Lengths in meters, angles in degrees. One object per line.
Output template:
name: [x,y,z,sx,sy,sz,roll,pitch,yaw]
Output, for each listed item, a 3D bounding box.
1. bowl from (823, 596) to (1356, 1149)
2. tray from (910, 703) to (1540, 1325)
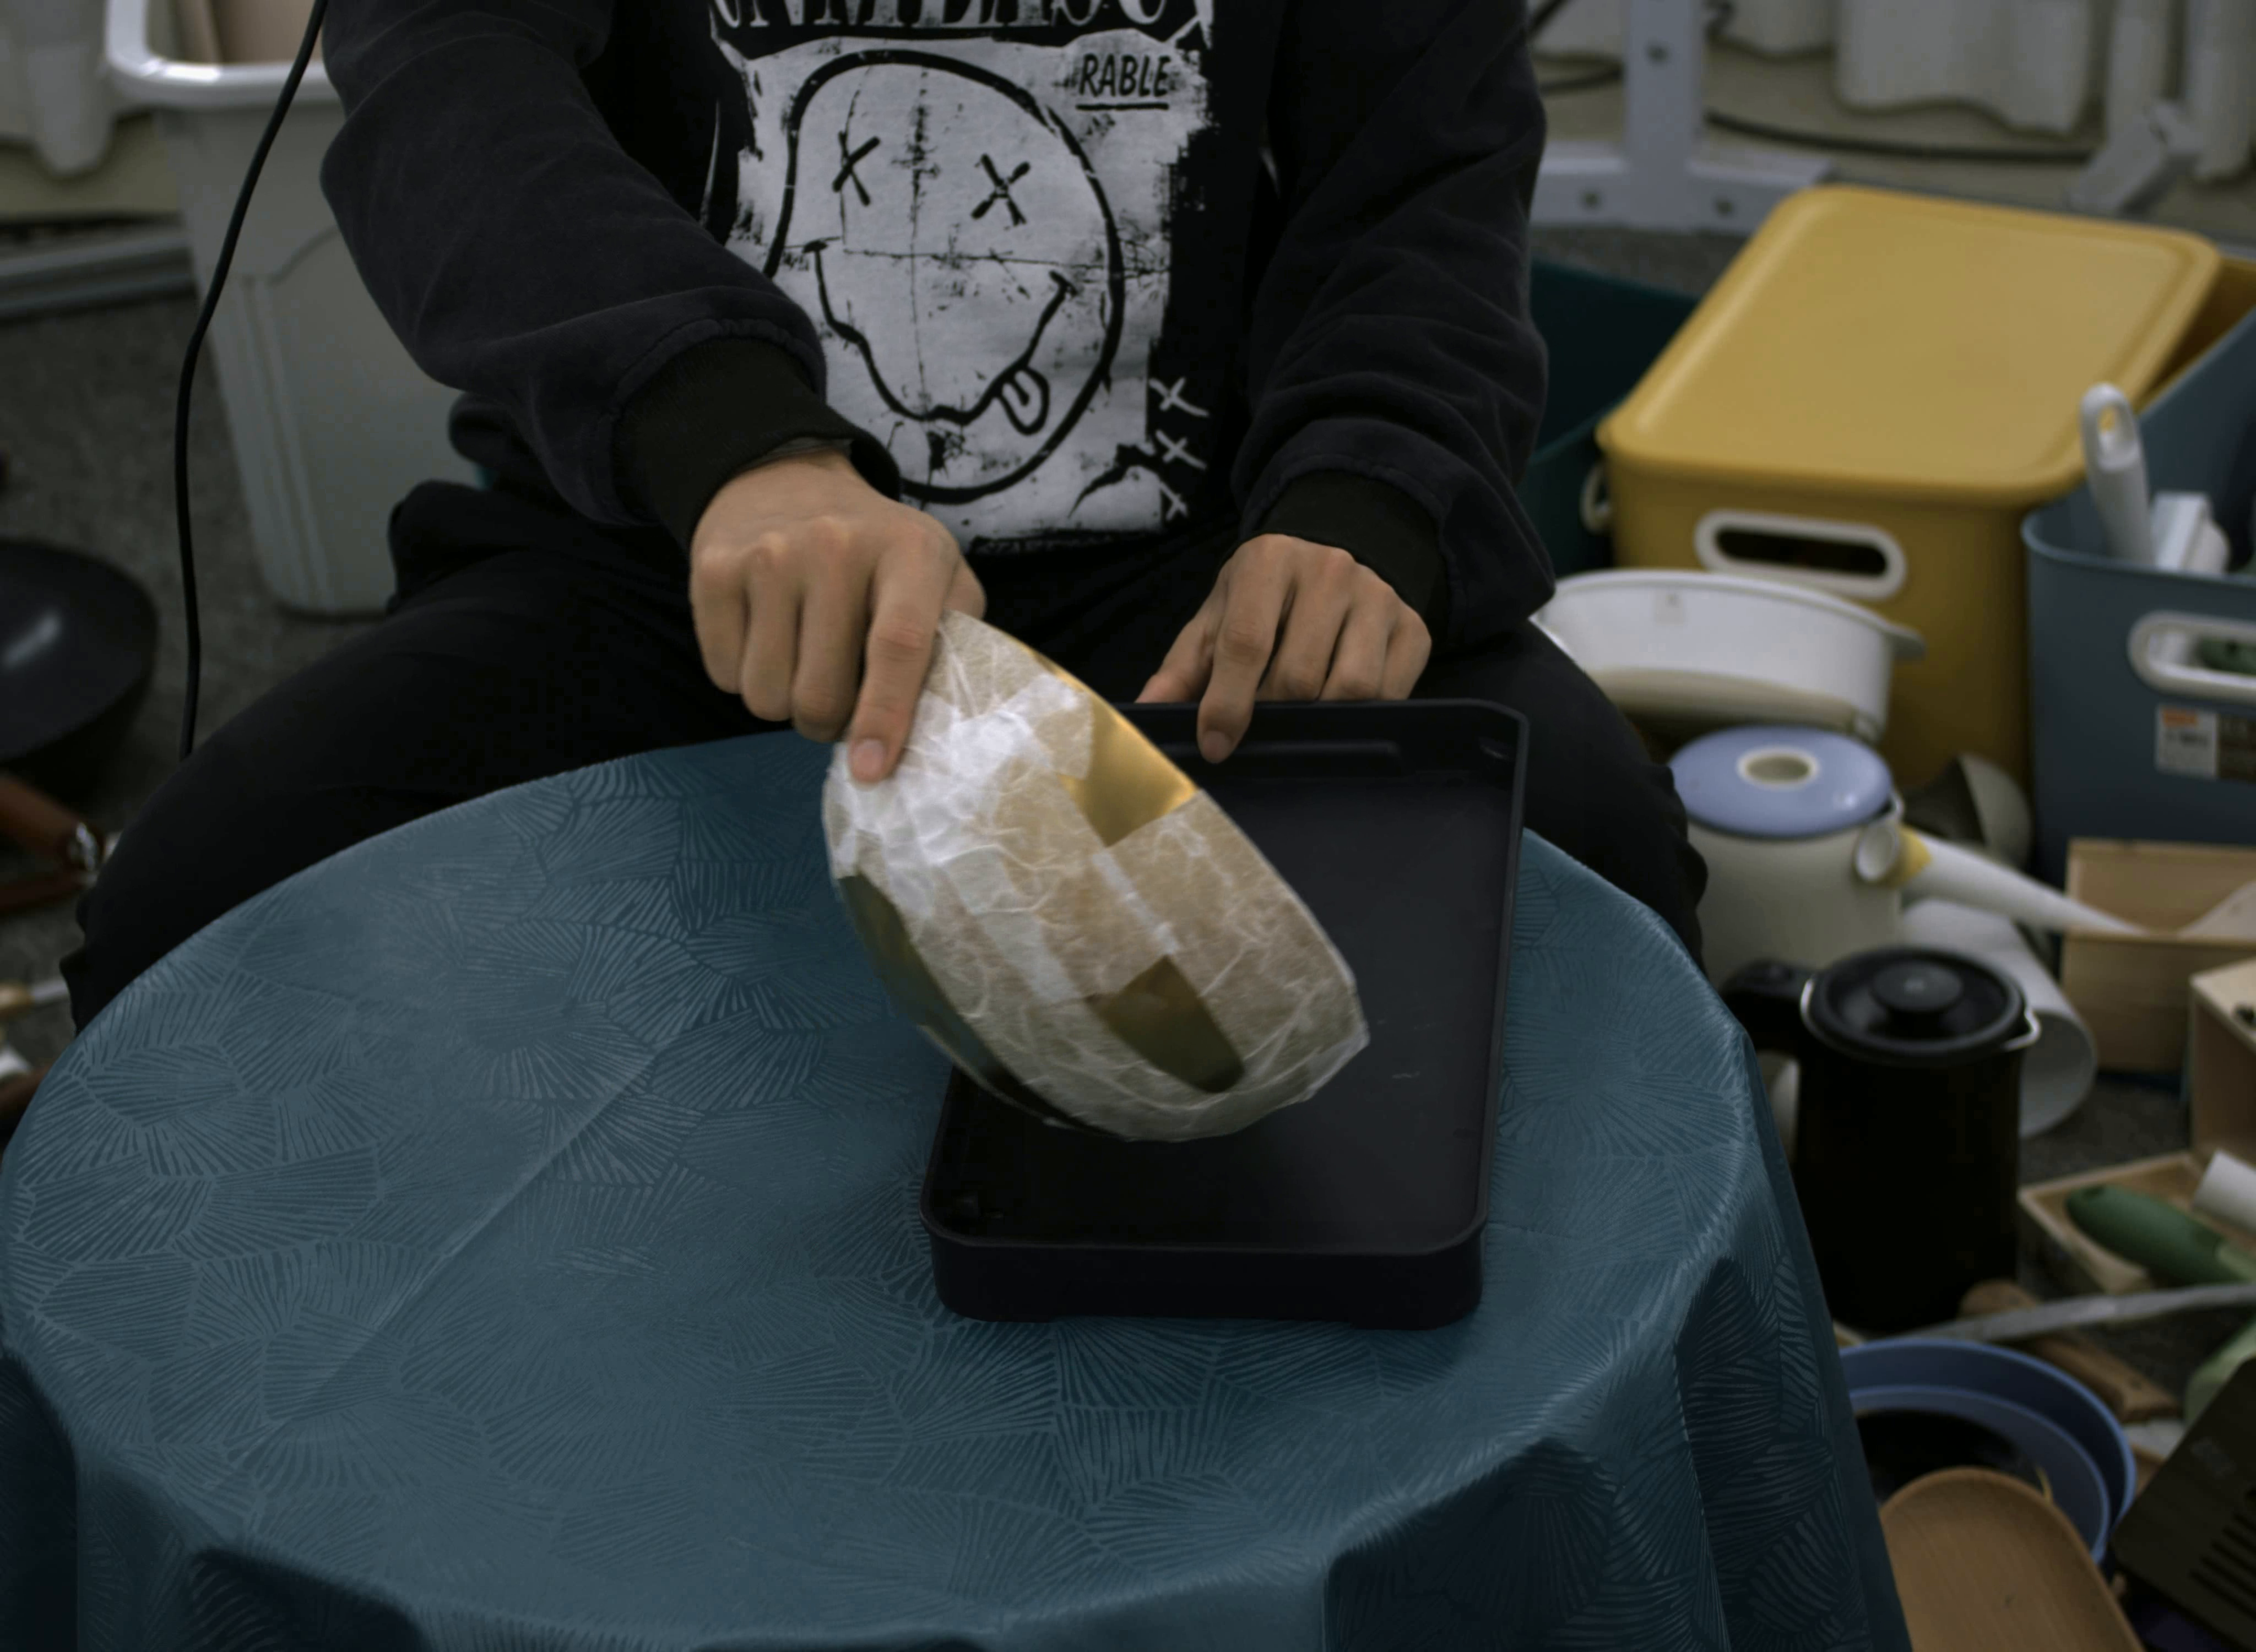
bowl: [-0.032,0.032,1.802,0.095,0.212,0.215,-43,40,-13]
tray: [0.040,0.058,1.905,0.183,0.036,0.324,0,33,9]
